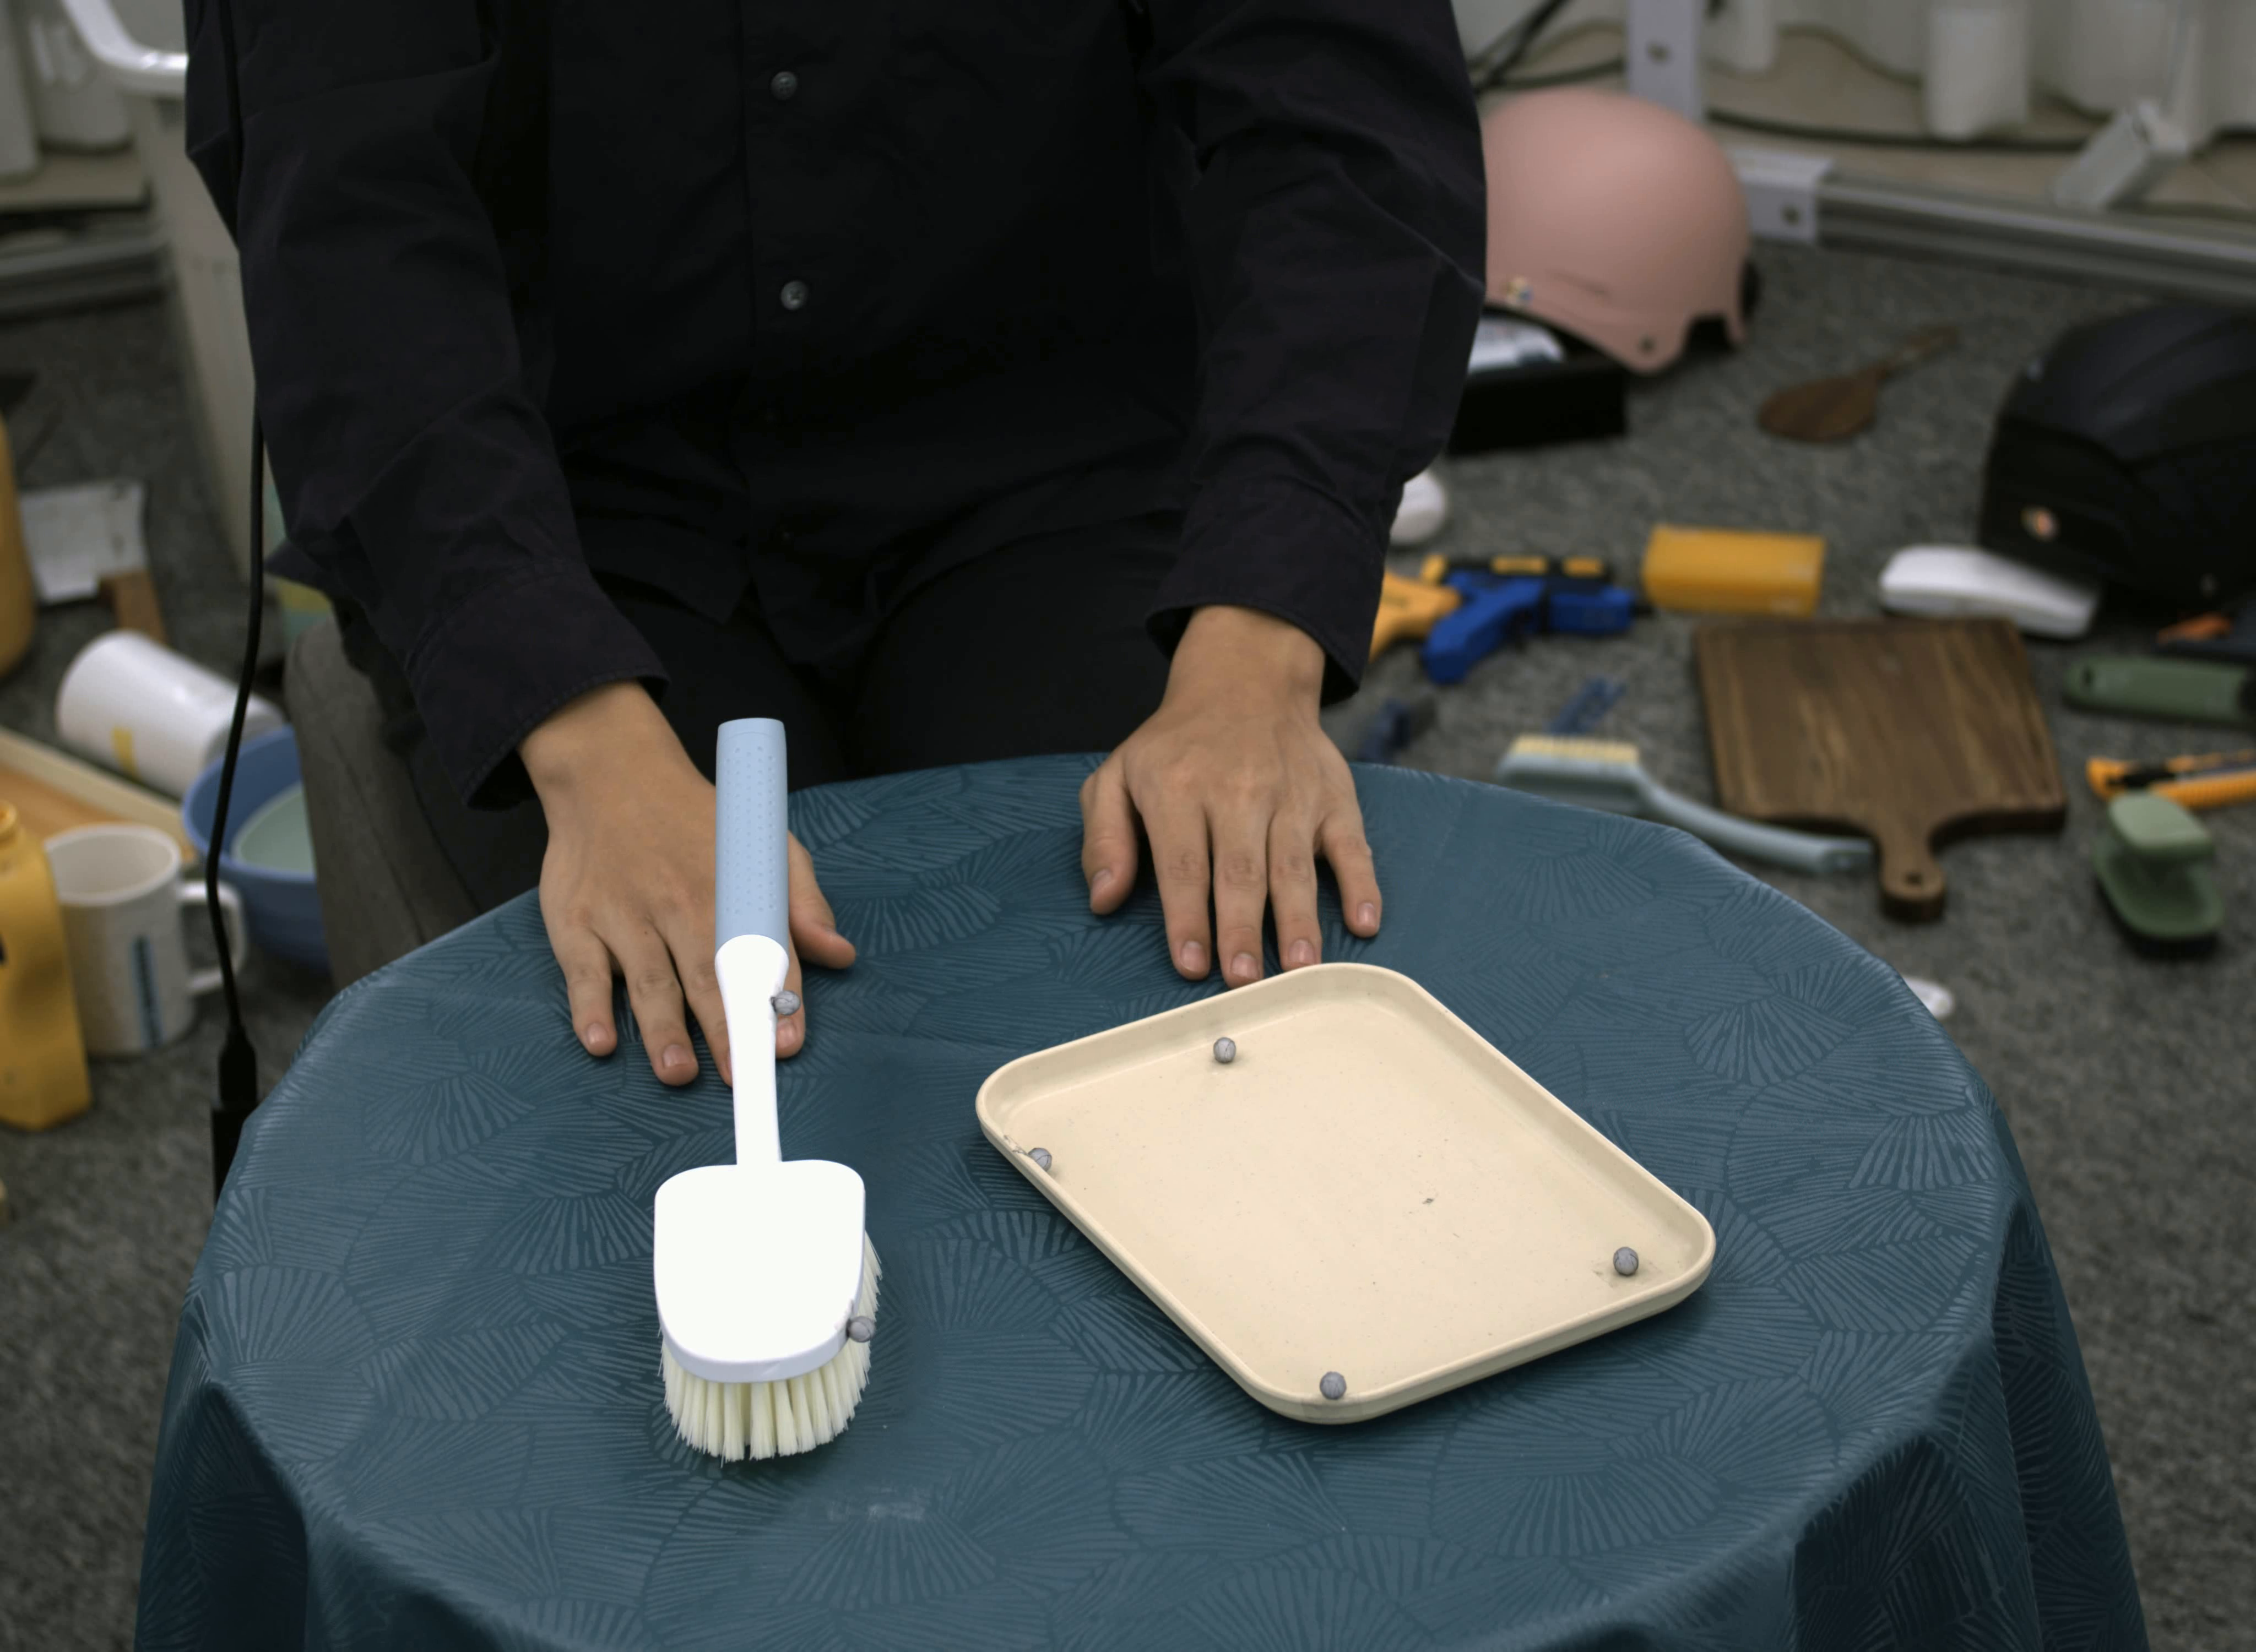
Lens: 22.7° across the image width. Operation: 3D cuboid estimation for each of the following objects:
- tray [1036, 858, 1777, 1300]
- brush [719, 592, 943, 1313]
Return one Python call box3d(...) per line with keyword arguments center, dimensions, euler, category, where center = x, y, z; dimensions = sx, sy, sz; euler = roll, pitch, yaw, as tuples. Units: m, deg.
box3d(center=(0.089, 0.082, 1.856), dimensions=(0.172, 0.017, 0.241), euler=(-16, 31, -24), category="tray")
box3d(center=(-0.096, 0.050, 1.864), dimensions=(0.083, 0.083, 0.331), euler=(27, 33, -23), category="brush")
